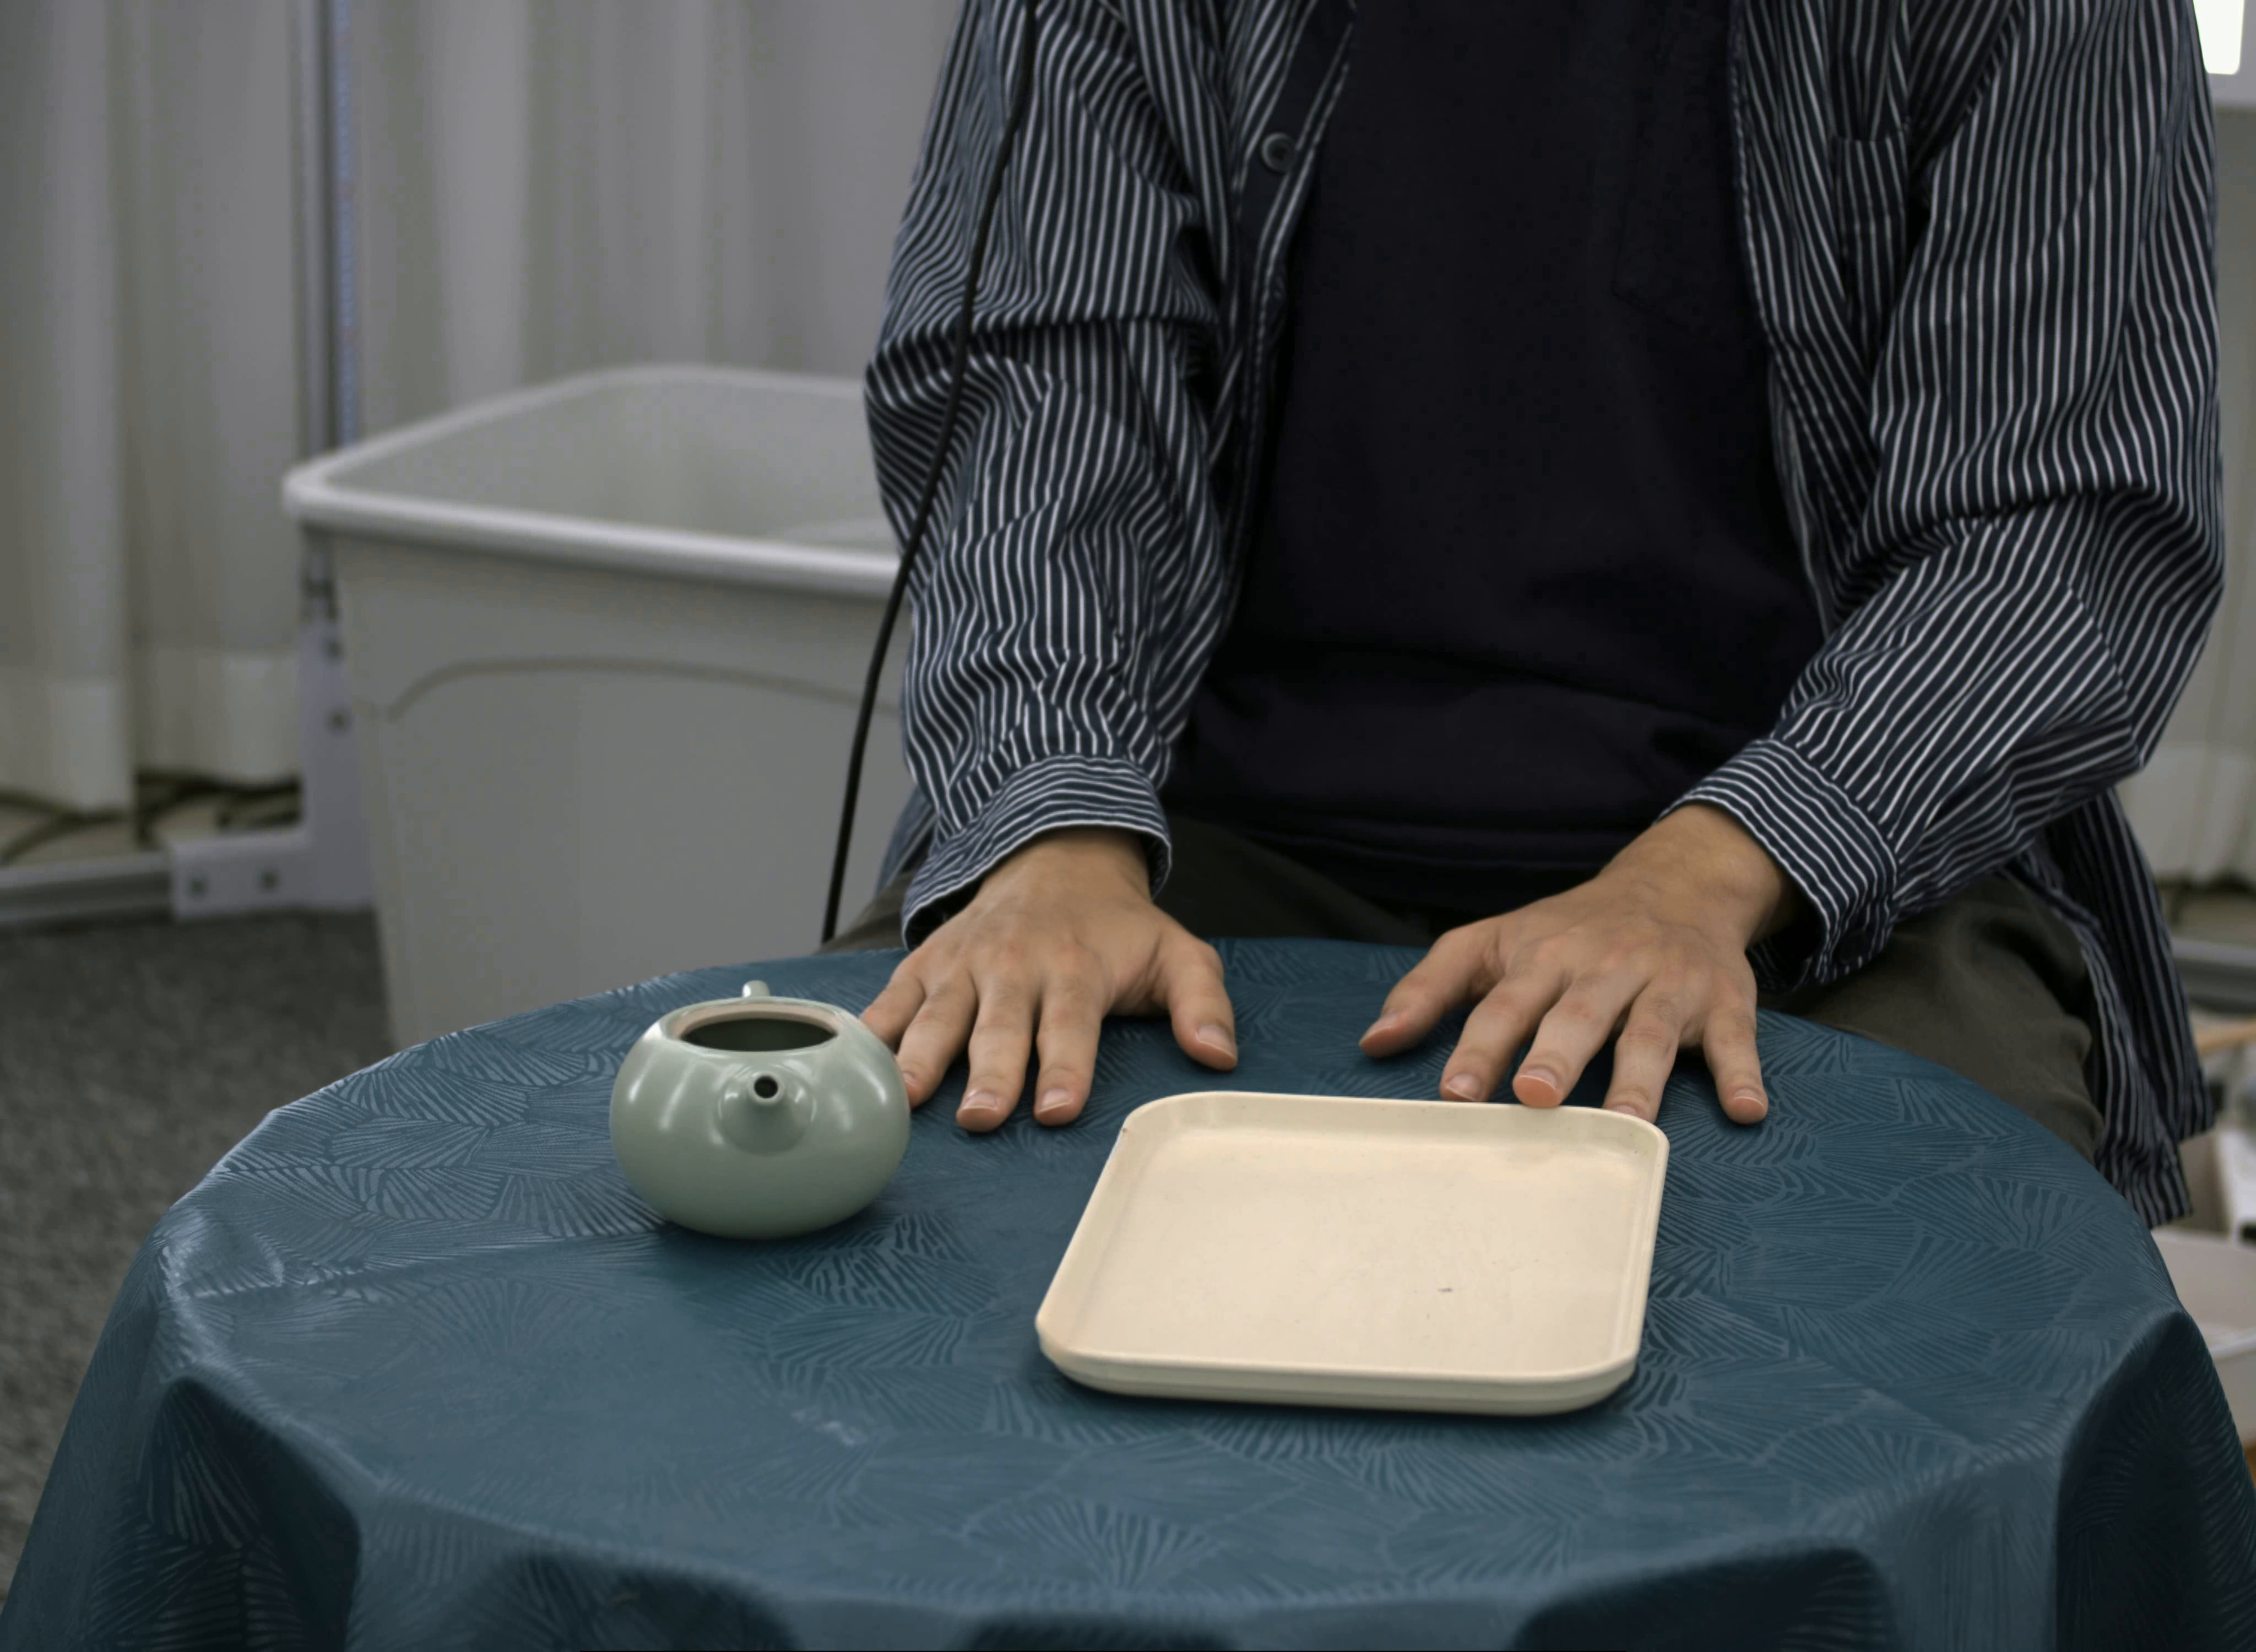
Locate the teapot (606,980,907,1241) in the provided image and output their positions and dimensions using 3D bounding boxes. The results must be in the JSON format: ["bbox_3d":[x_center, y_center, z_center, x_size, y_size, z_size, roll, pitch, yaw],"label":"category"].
[{"bbox_3d":[-0.113,0.086,1.609,0.091,0.061,0.128,-2,15,-1],"label":"teapot"}]

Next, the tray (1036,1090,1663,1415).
[{"bbox_3d":[0.070,0.125,1.554,0.170,0.017,0.239,3,15,7],"label":"tray"}]
